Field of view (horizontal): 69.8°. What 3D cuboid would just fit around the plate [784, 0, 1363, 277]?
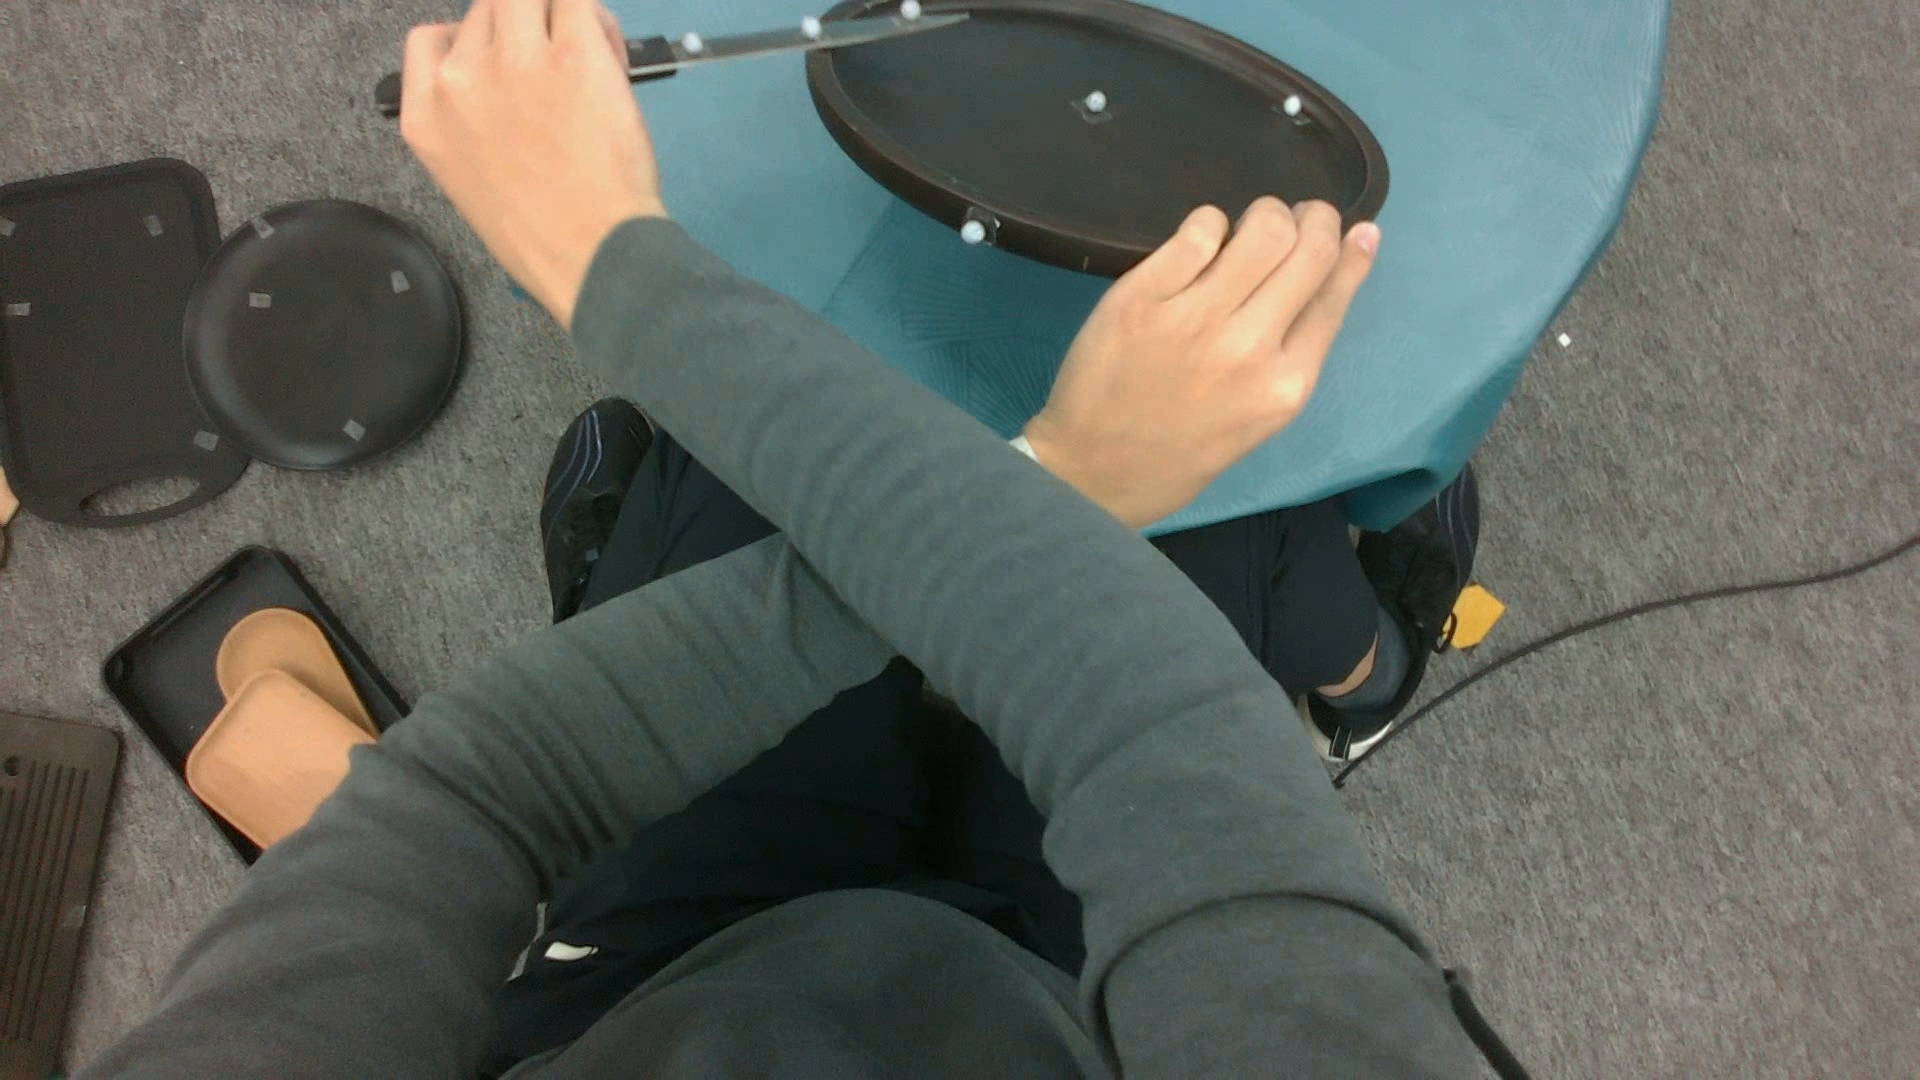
[{"bbox_3d":[0.050,-0.187,0.596,0.255,0.029,0.256,8,41,-7],"label":"plate"}]

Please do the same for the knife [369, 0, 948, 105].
[{"bbox_3d":[-0.115,-0.203,0.560,0.238,0.024,0.016,-14,128,-15],"label":"knife"}]
